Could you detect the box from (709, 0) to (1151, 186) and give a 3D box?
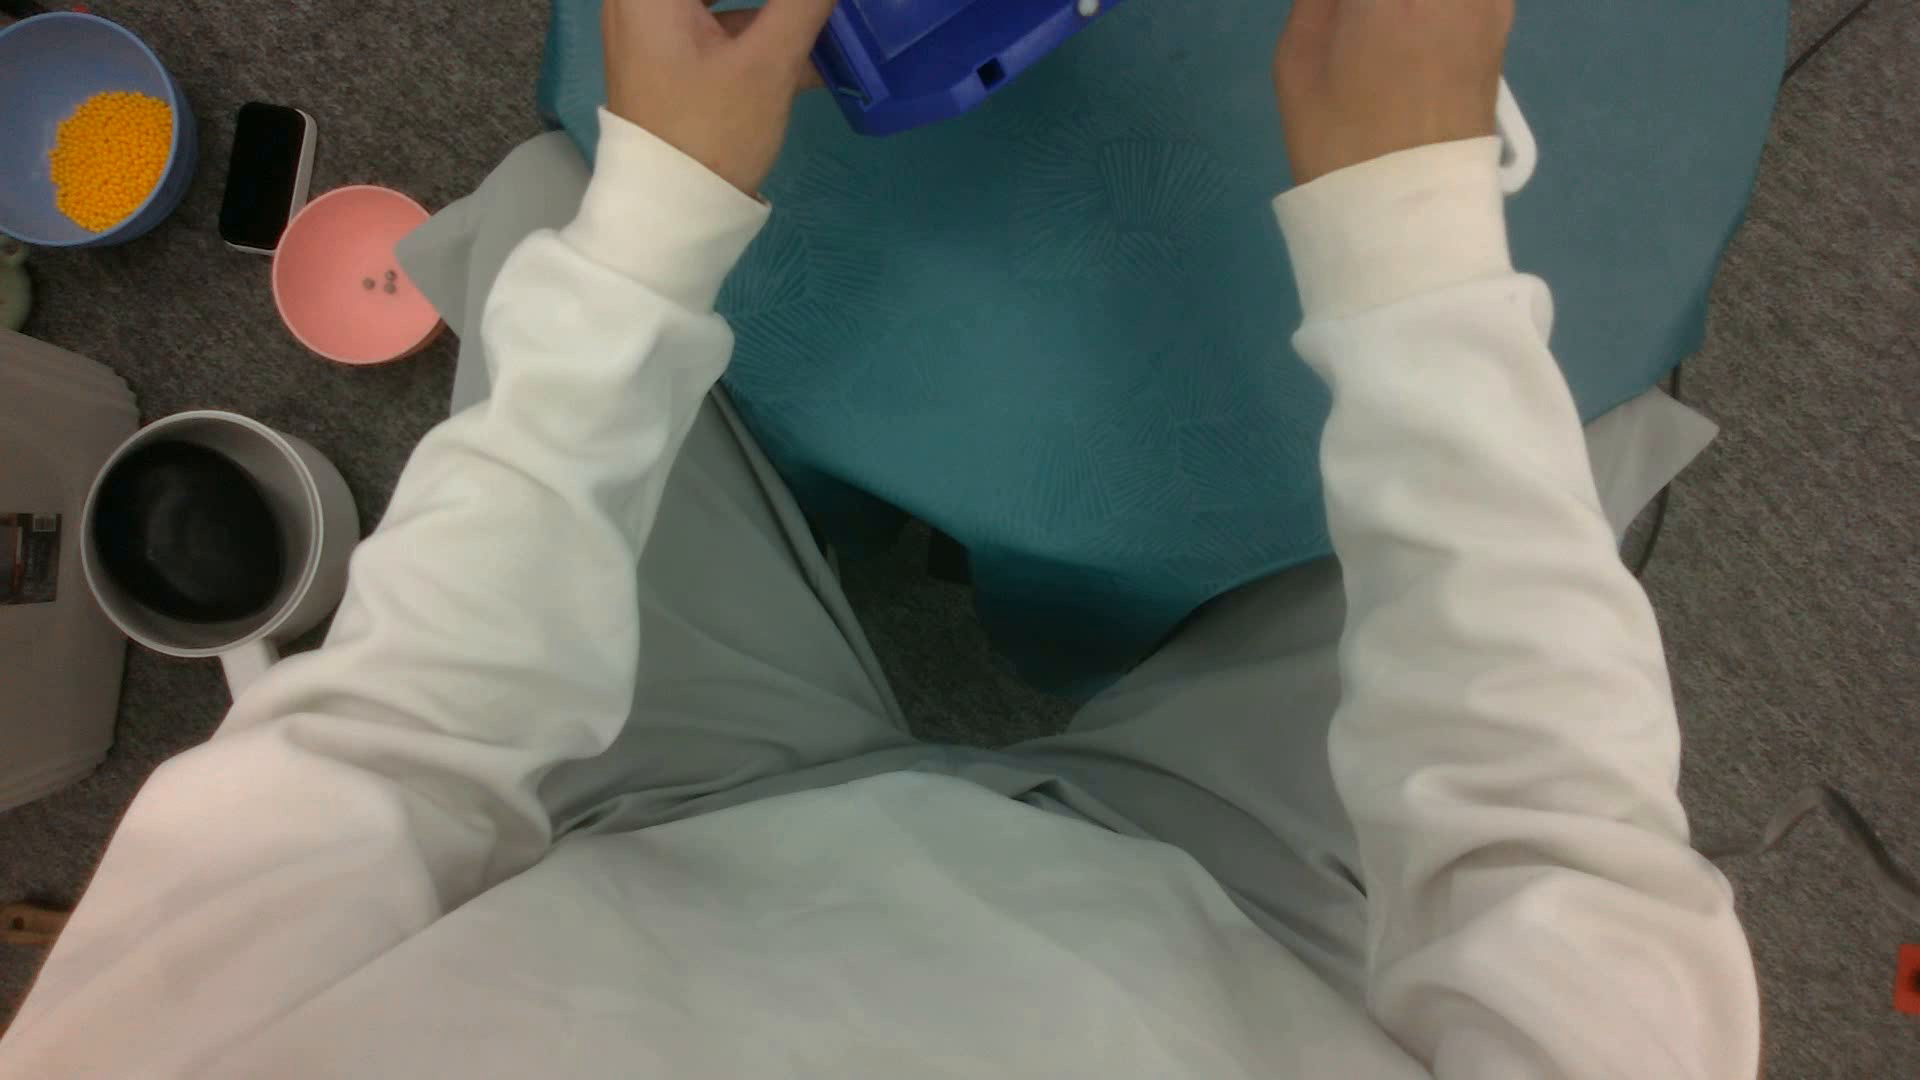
[{"bbox_3d":[-0.007,-0.240,0.554,0.179,0.082,0.124,-38,122,-4],"label":"box"}]

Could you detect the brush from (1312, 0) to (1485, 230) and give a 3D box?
[{"bbox_3d":[0.135,-0.236,0.529,0.068,0.056,0.266,-31,119,10],"label":"brush"}]
